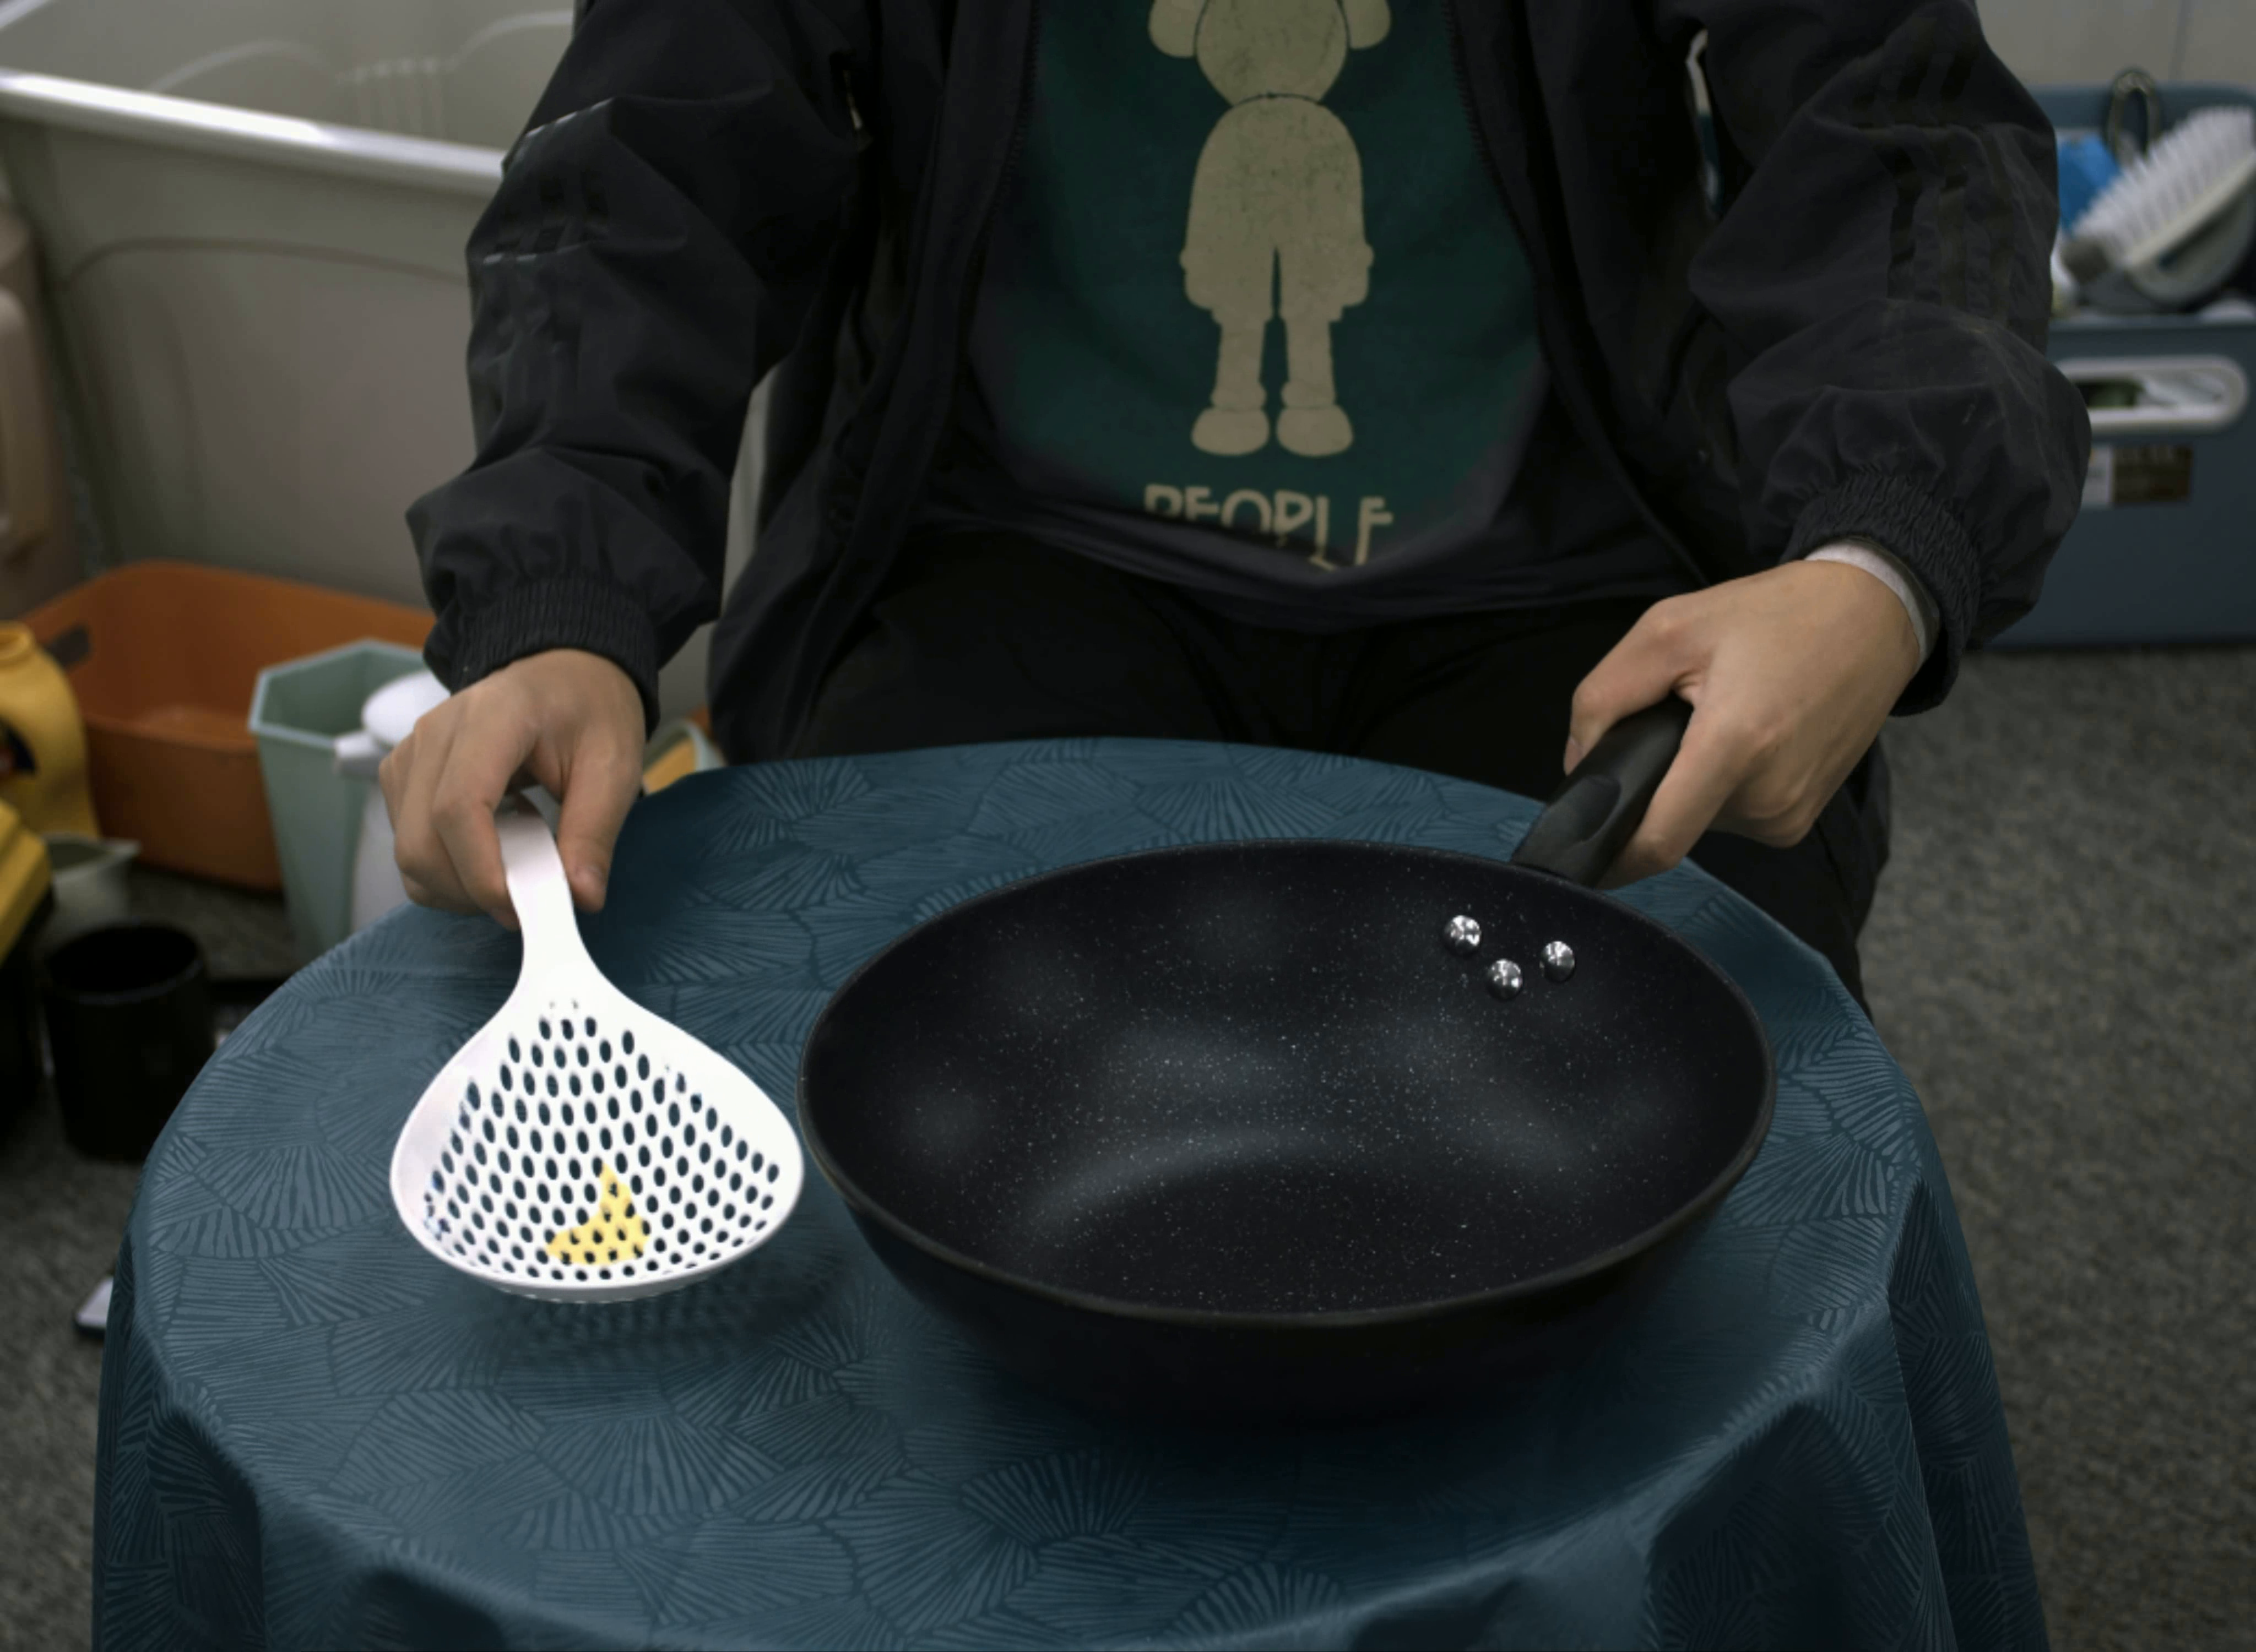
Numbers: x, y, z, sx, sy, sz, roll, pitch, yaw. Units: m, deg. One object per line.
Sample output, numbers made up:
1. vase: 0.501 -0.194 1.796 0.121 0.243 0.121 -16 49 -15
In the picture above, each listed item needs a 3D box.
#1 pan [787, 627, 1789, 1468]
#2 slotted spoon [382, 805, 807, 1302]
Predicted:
1. pan: 0.093 0.072 1.832 0.309 0.110 0.484 16 32 29
2. slotted spoon: -0.194 0.066 1.911 0.136 0.049 0.353 -6 33 -9
